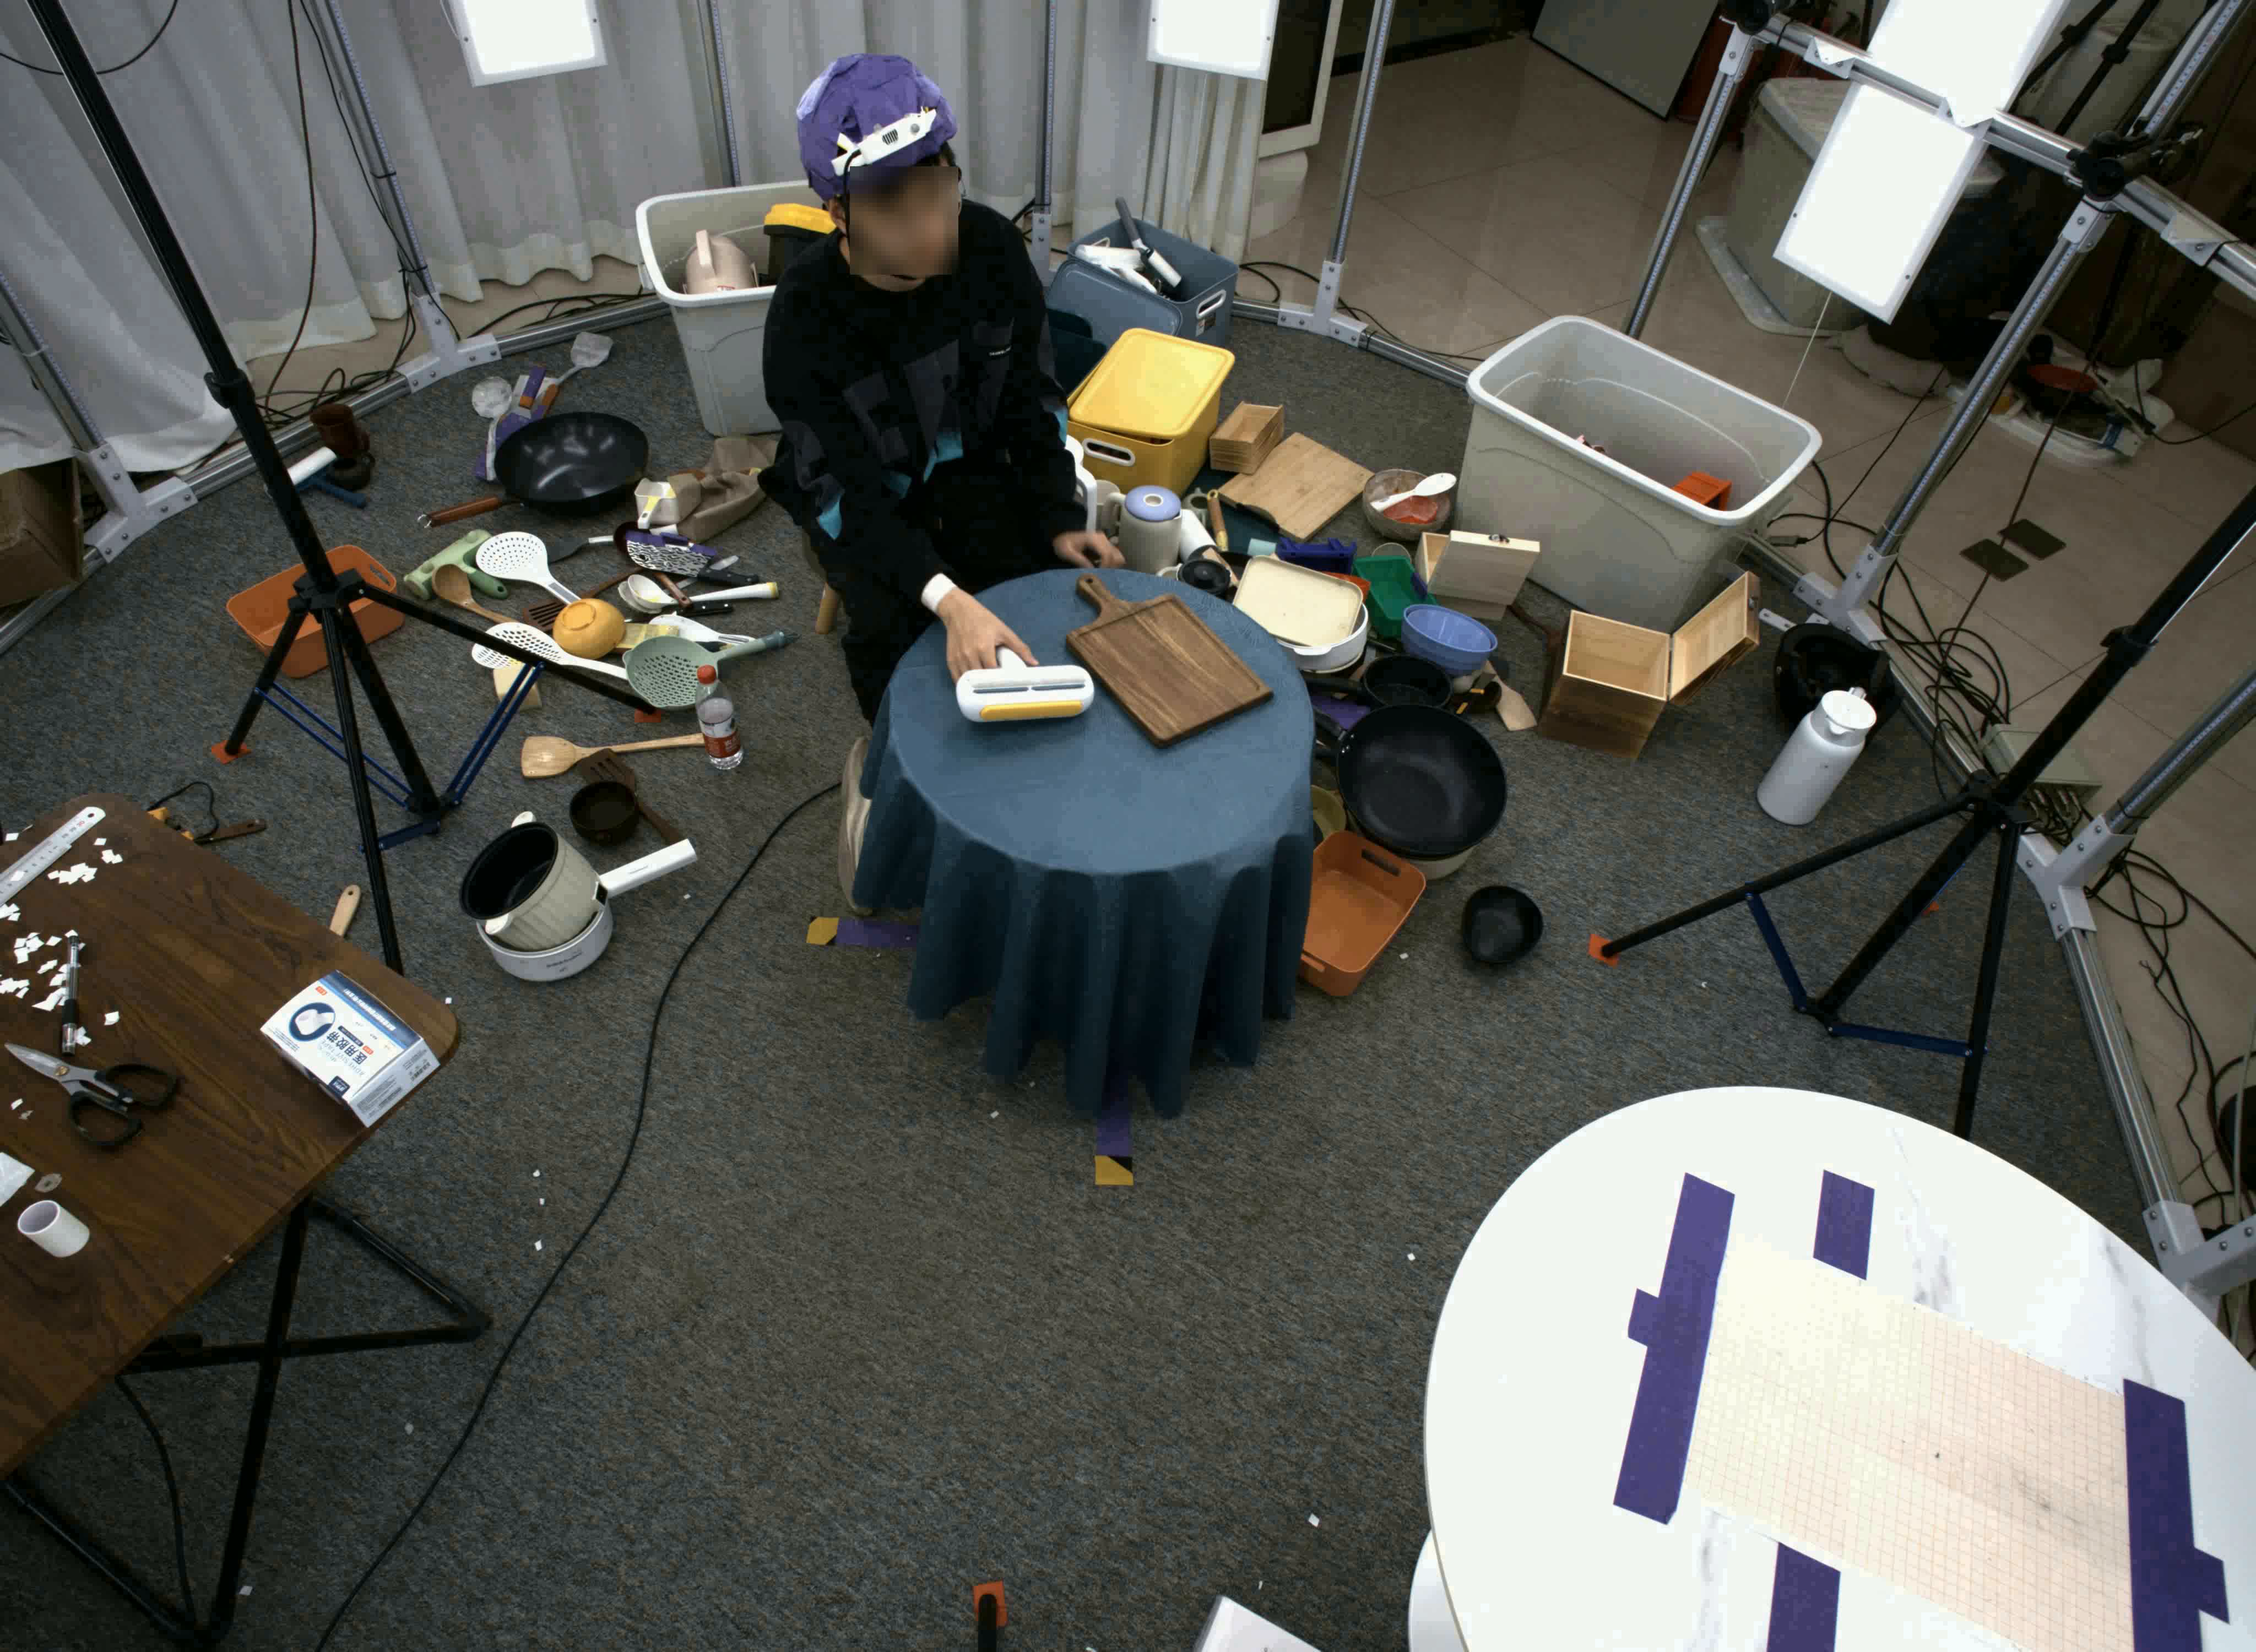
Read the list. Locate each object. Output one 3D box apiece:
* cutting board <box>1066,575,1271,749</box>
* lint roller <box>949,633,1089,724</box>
[{"bbox_3d":[0.029,-0.263,1.885,0.202,0.022,0.359,-26,55,-23],"label":"cutting board"},{"bbox_3d":[-0.163,-0.219,1.805,0.192,0.072,0.197,-5,48,-15],"label":"lint roller"}]
